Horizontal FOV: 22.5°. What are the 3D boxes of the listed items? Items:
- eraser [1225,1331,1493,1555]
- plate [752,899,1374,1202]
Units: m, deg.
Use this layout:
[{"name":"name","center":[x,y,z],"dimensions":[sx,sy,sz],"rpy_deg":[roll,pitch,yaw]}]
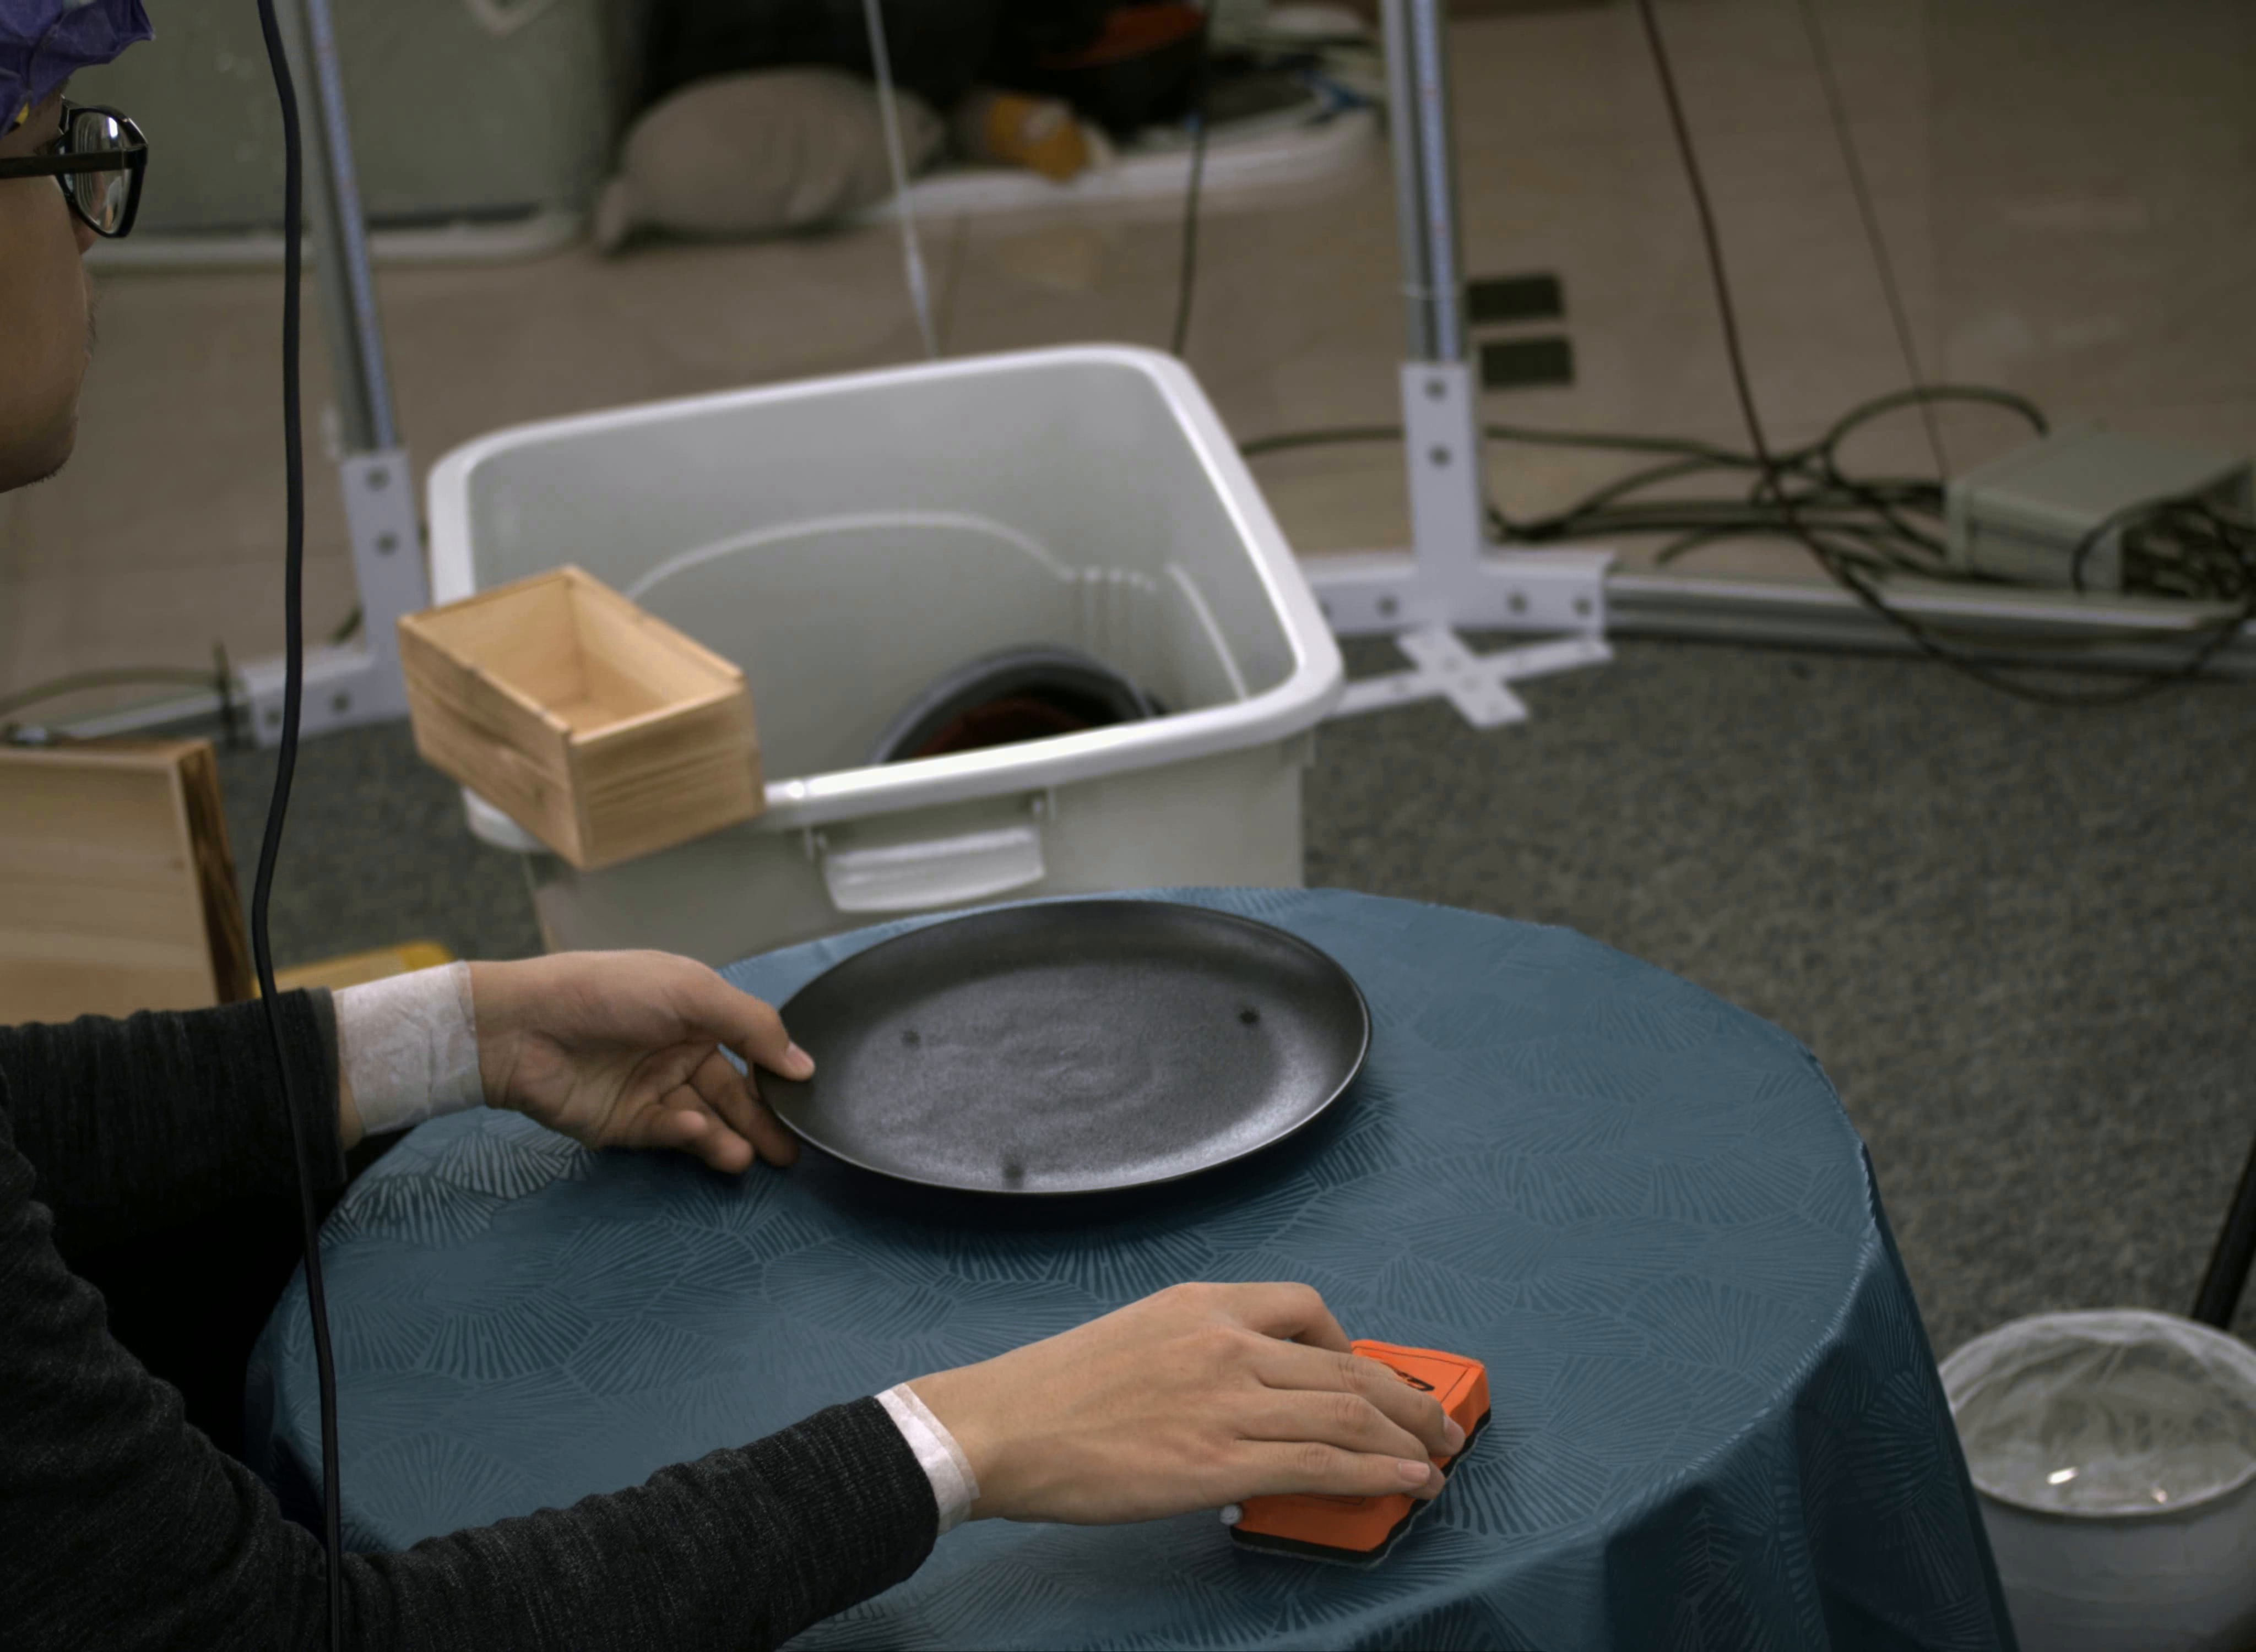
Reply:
[{"name":"eraser","center":[0.080,0.210,1.942],"dimensions":[0.059,0.023,0.106],"rpy_deg":[1,27,30]},{"name":"plate","center":[-0.025,0.093,2.218],"dimensions":[0.244,0.024,0.240],"rpy_deg":[-4,26,2]}]
